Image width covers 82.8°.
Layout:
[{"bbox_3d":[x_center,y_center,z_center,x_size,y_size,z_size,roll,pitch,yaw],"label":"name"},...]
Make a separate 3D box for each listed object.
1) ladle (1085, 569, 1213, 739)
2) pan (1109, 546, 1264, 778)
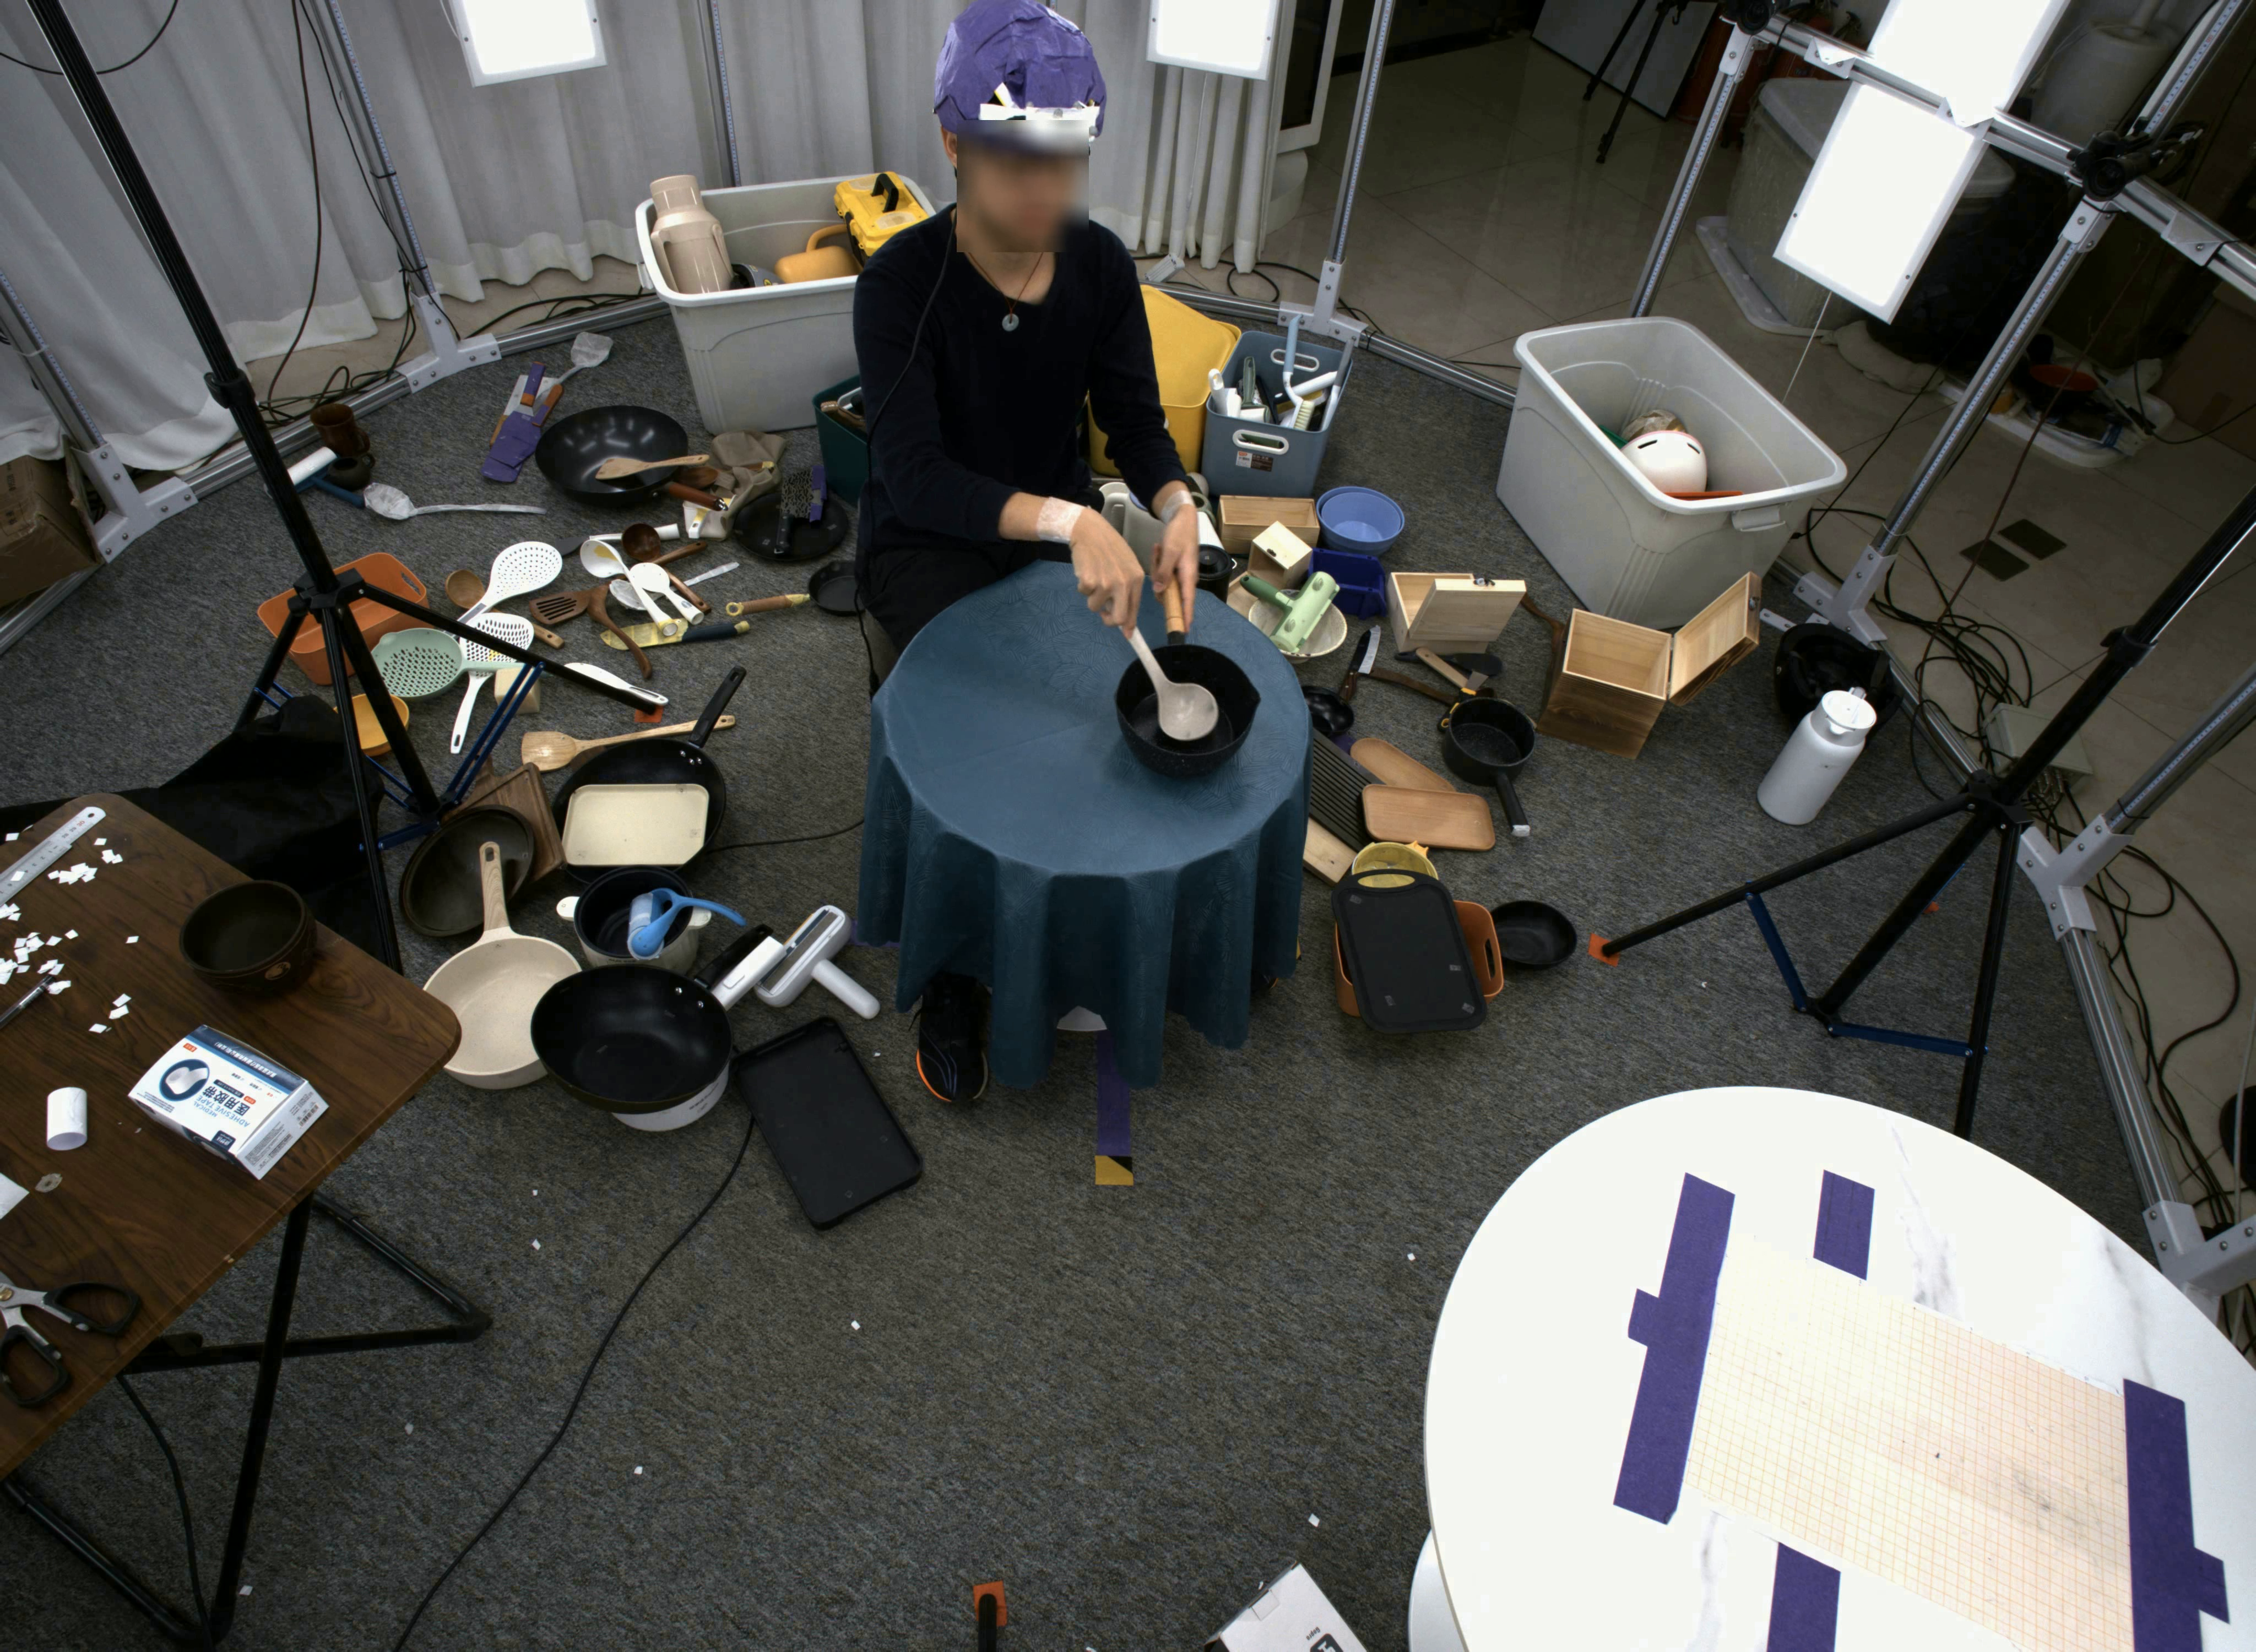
[{"bbox_3d":[0.029,-0.227,1.689,0.090,0.268,0.070,-47,41,-16],"label":"ladle"},{"bbox_3d":[0.069,-0.224,1.770,0.207,0.106,0.350,-3,59,-5],"label":"pan"}]
